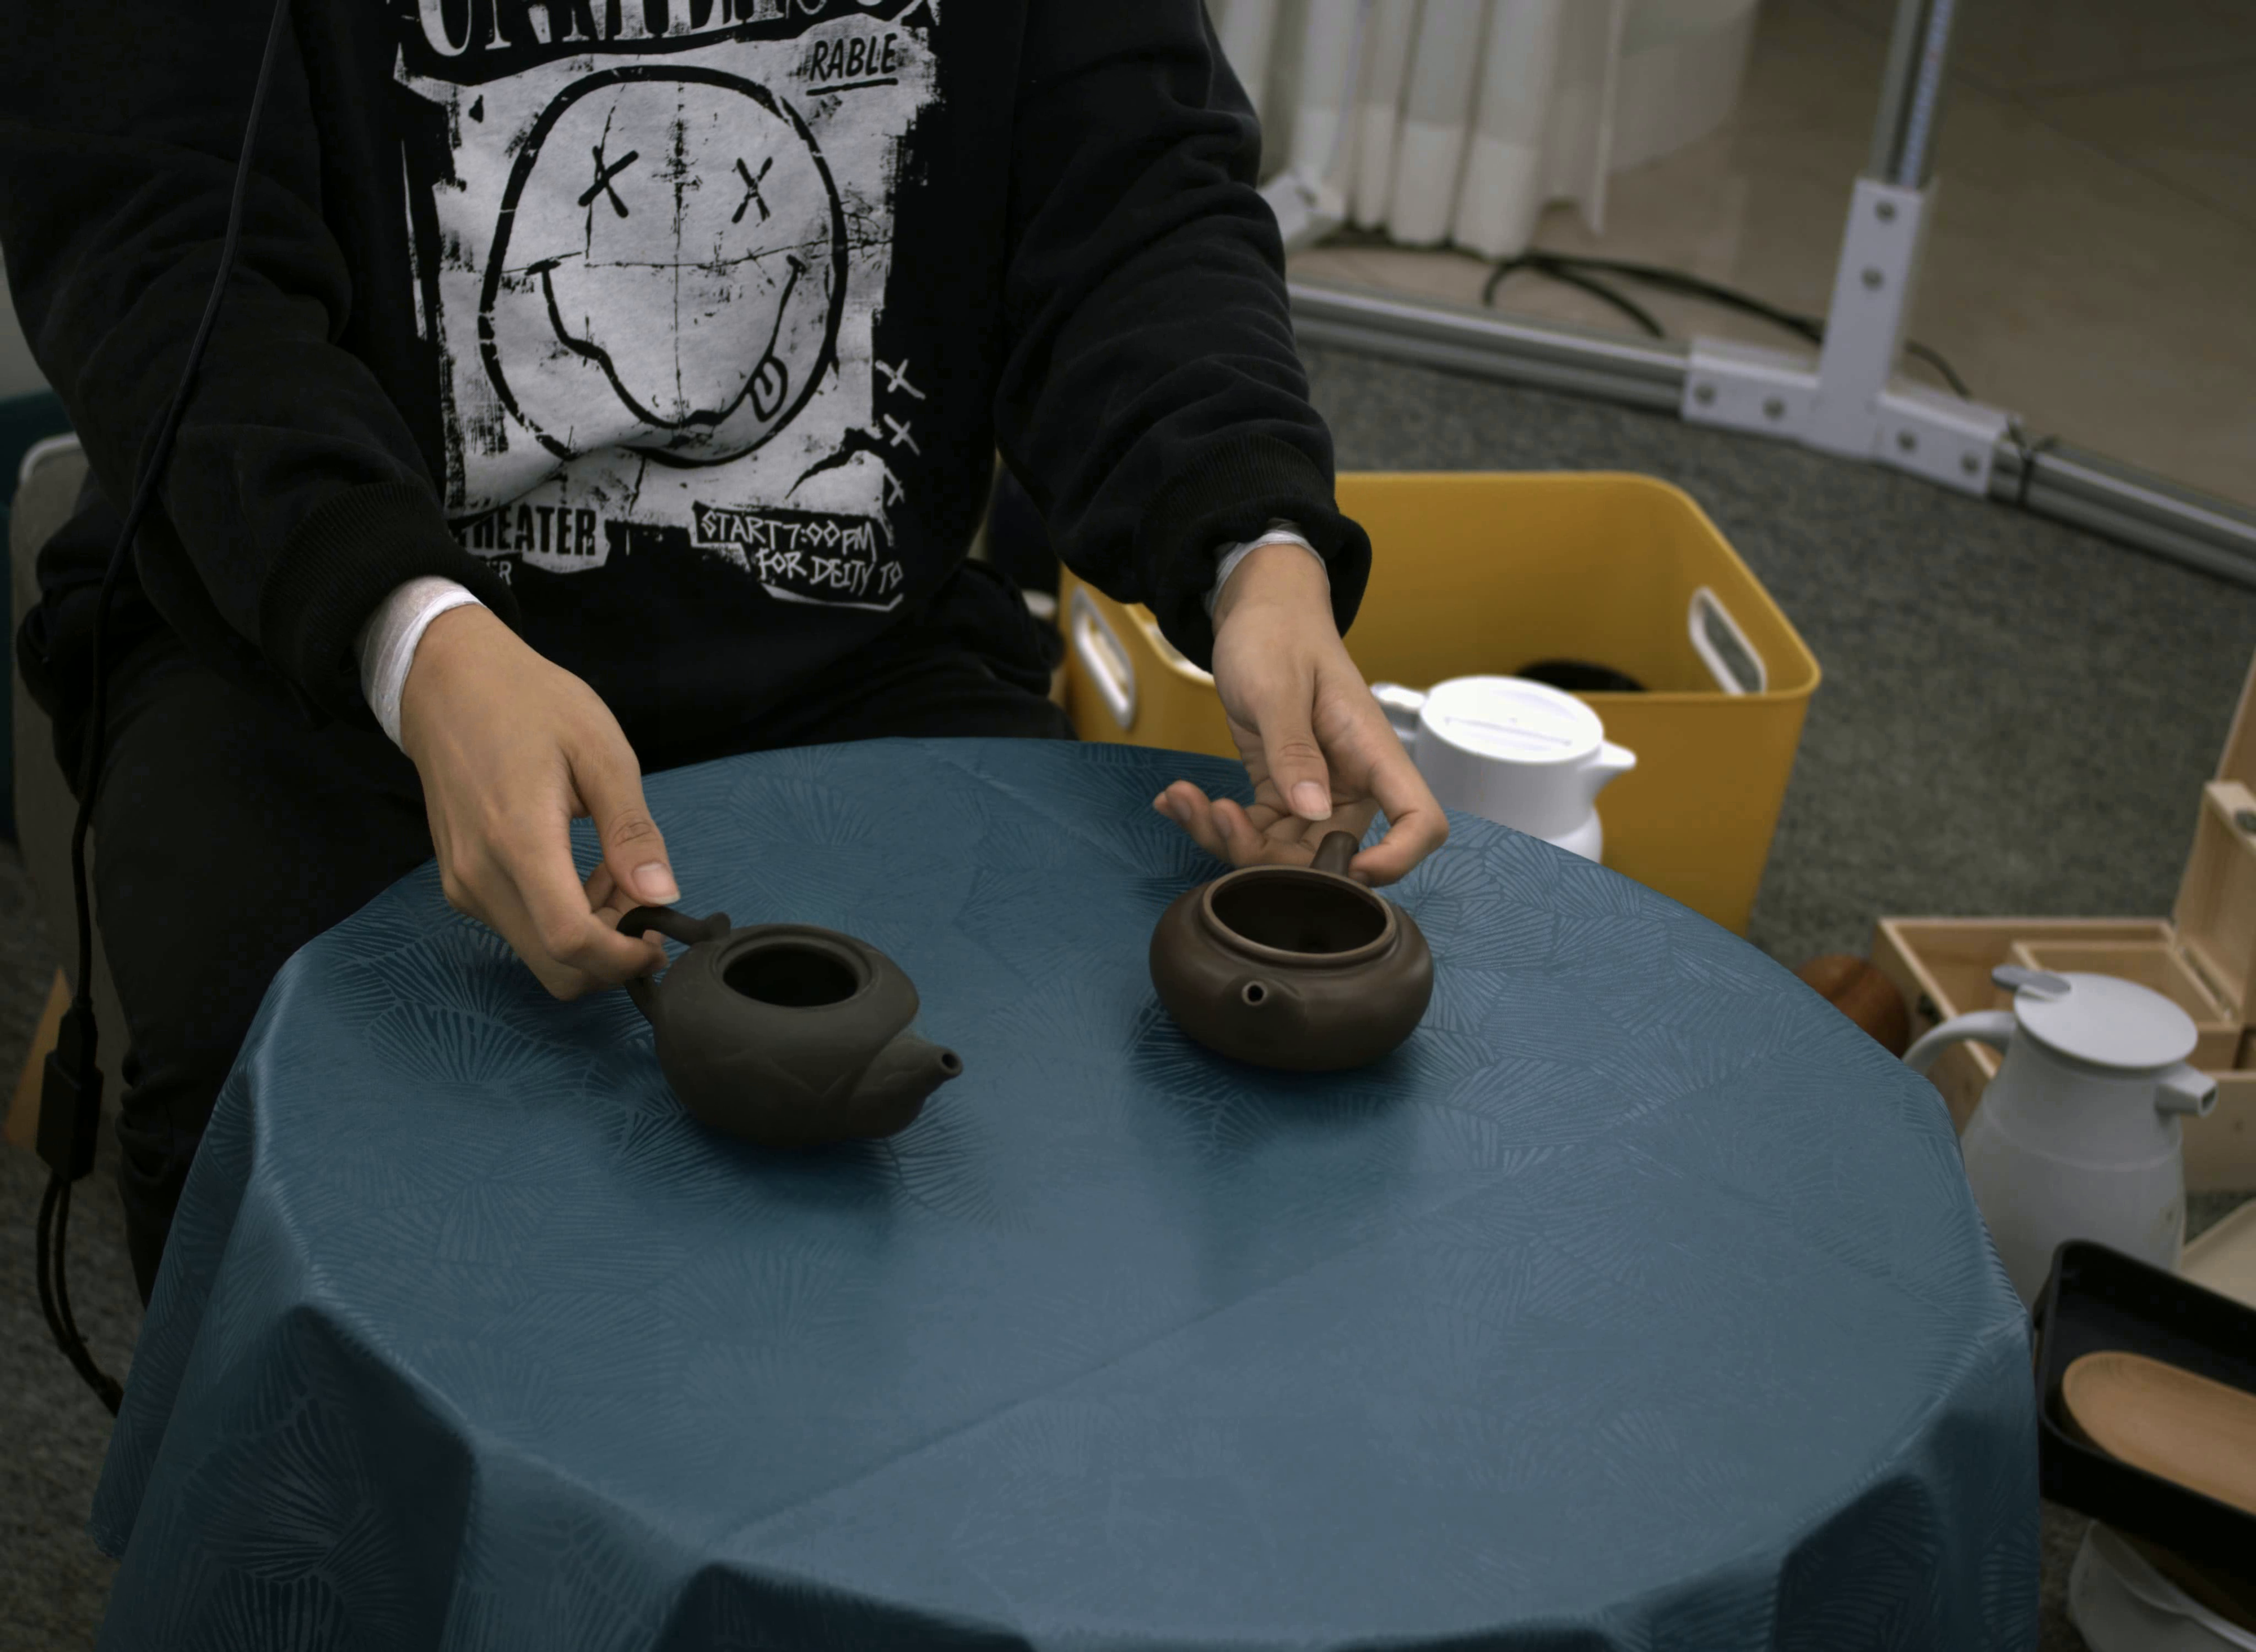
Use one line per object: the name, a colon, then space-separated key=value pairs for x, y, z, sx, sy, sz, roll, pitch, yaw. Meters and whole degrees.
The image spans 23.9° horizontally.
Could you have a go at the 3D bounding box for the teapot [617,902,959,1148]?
teapot: x=-0.119 y=0.070 z=1.815 sx=0.155 sy=0.064 sz=0.092 roll=26 pitch=31 yaw=32

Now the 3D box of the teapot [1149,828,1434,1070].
teapot: x=0.059 y=0.047 z=1.909 sx=0.102 sy=0.053 sz=0.154 roll=11 pitch=28 yaw=5
